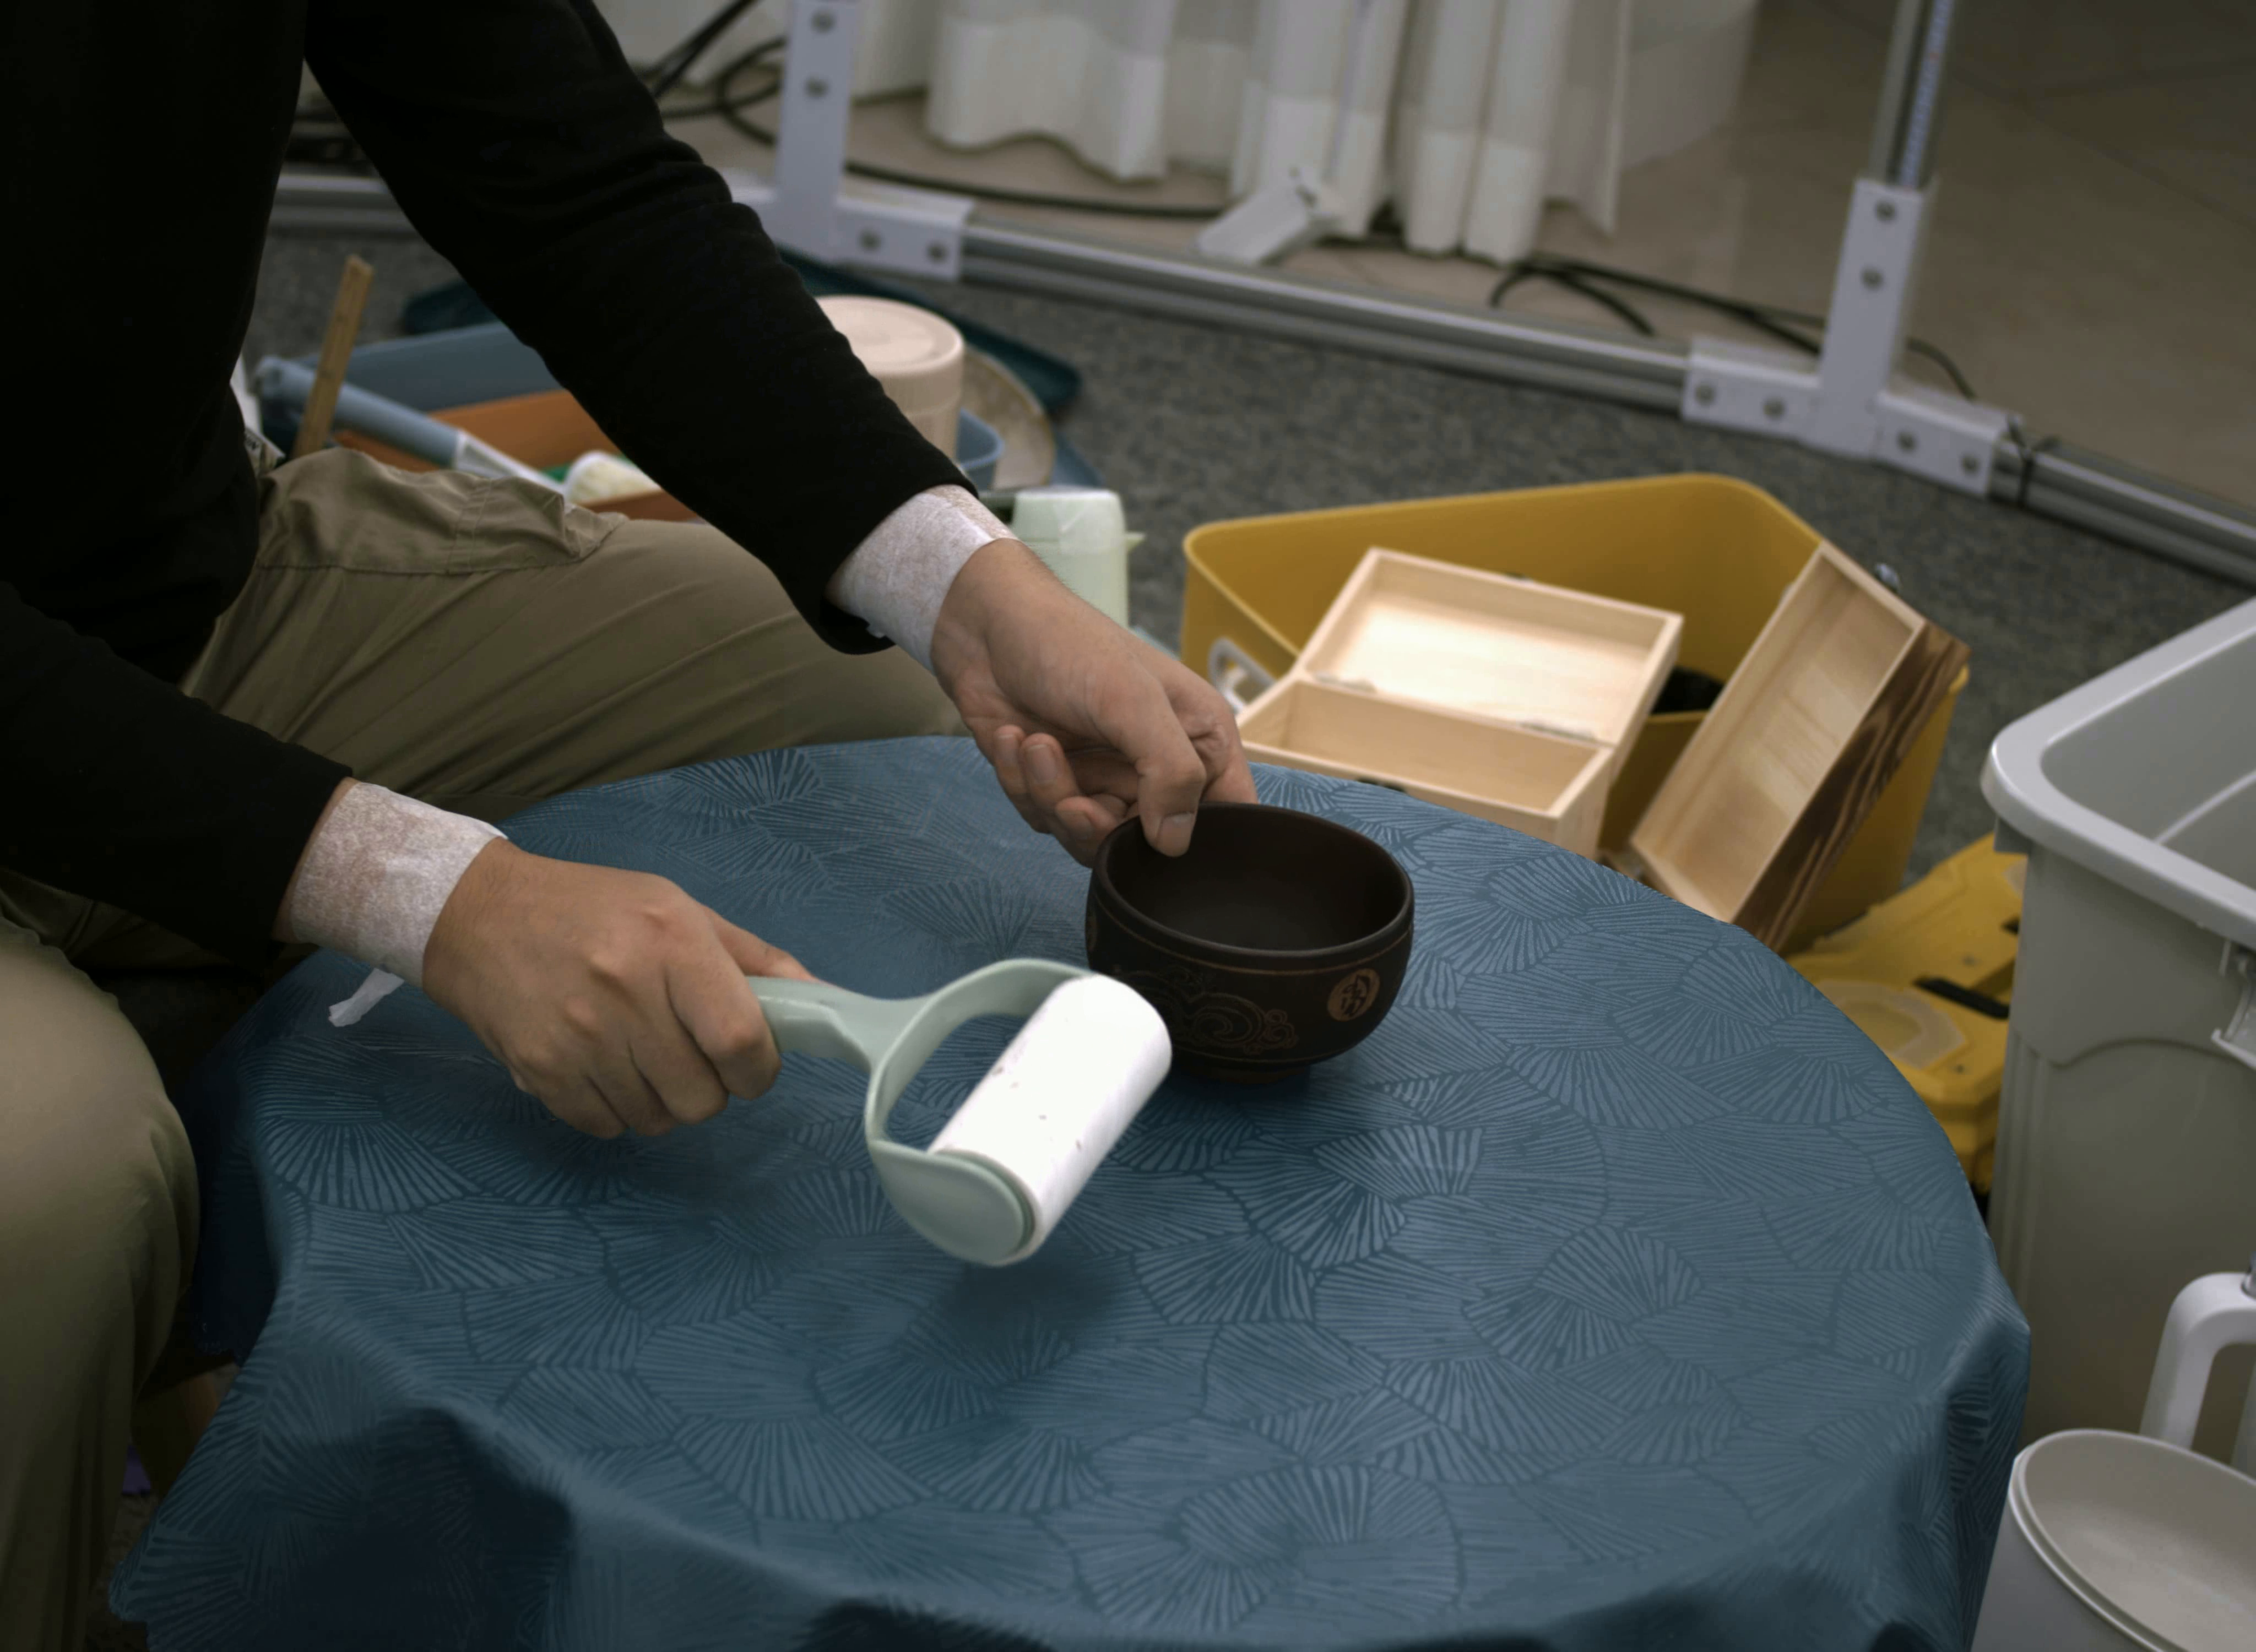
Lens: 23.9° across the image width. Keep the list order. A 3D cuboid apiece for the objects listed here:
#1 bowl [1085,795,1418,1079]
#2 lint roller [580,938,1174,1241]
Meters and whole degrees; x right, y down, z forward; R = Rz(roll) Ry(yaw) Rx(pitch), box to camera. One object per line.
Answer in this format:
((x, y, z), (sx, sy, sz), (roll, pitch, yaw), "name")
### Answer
((0.042, 0.046, 1.884), (0.117, 0.069, 0.119), (4, 27, -3), "bowl")
((-0.092, 0.071, 1.755), (0.198, 0.048, 0.117), (14, 39, 21), "lint roller")
